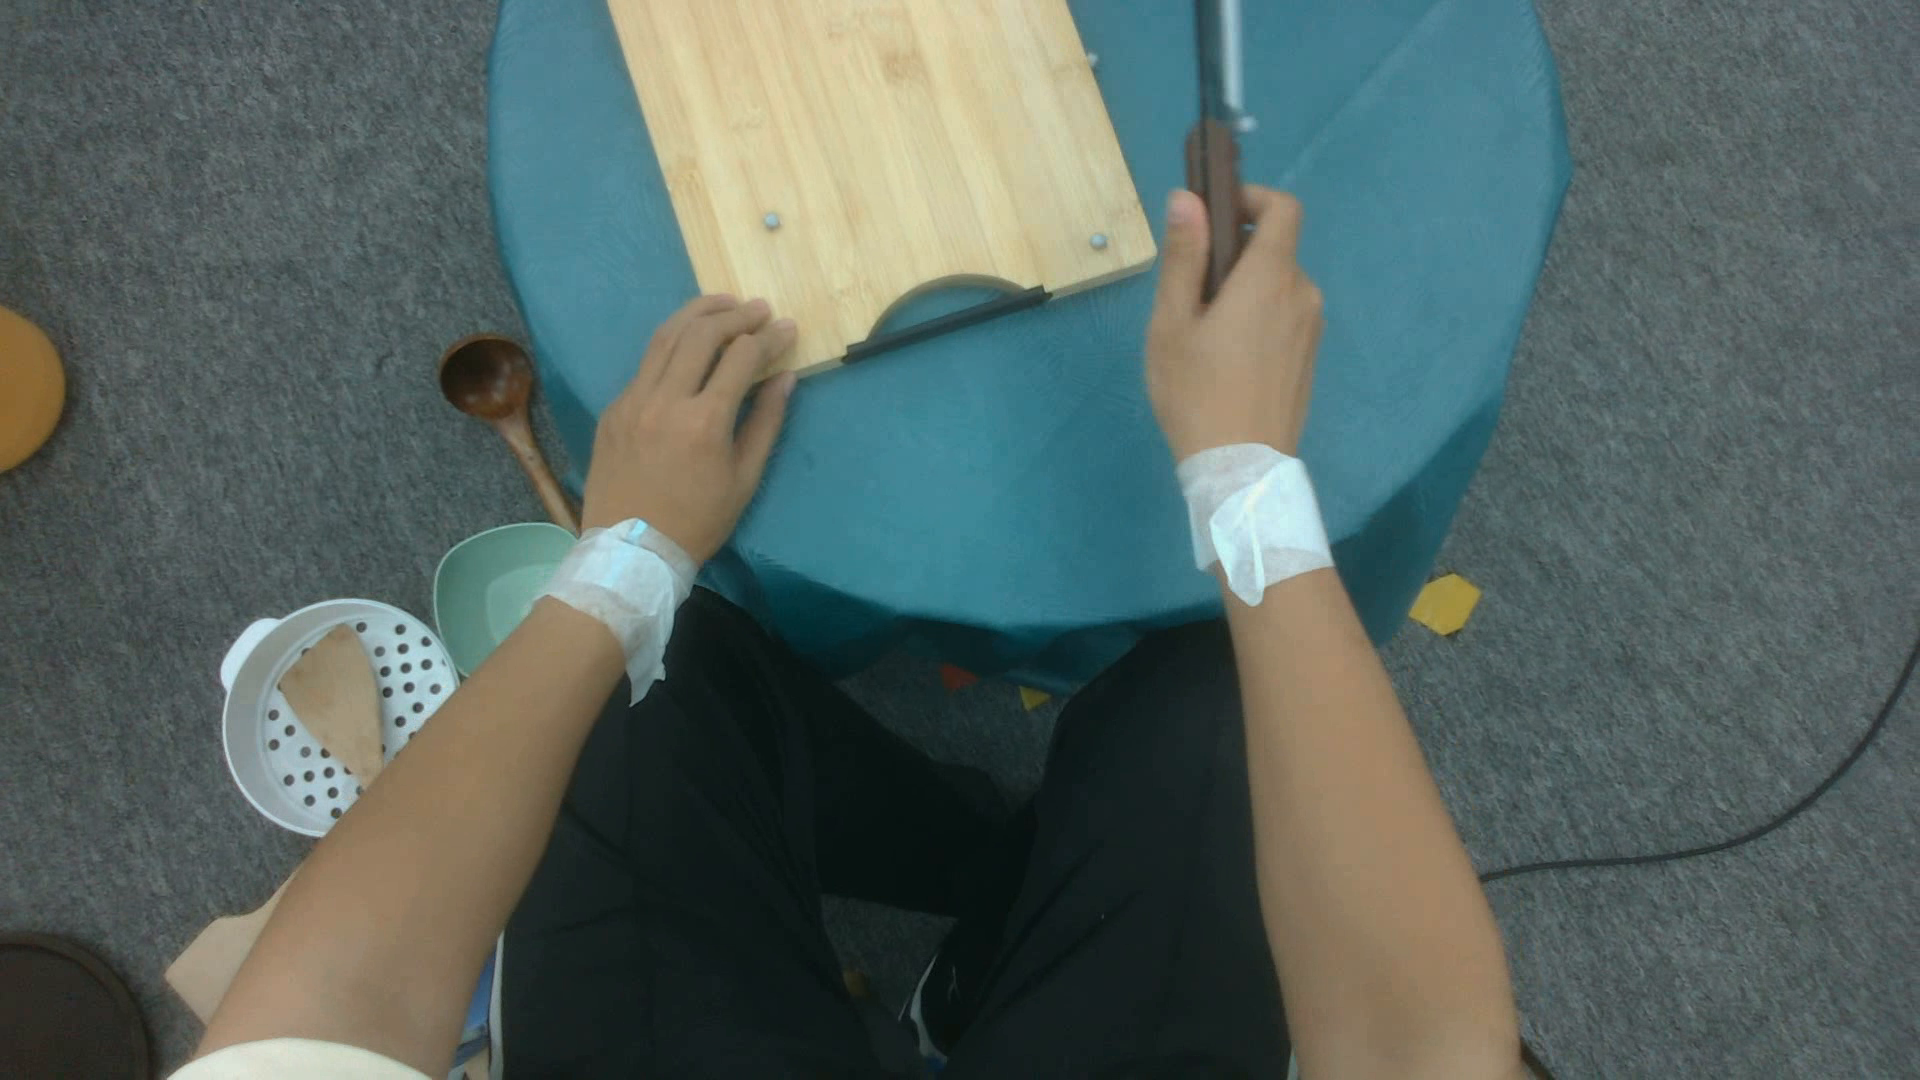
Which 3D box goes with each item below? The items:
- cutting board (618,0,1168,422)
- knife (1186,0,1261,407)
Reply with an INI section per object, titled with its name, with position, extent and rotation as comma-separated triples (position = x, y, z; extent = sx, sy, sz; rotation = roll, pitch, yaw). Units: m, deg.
[cutting board]
position = -0.054, -0.264, 0.781
extent = 0.251, 0.023, 0.349
rotation = -19, 80, -5
[knife]
position = 0.121, -0.214, 0.654
extent = 0.024, 0.068, 0.299
rotation = -4, 96, 25
